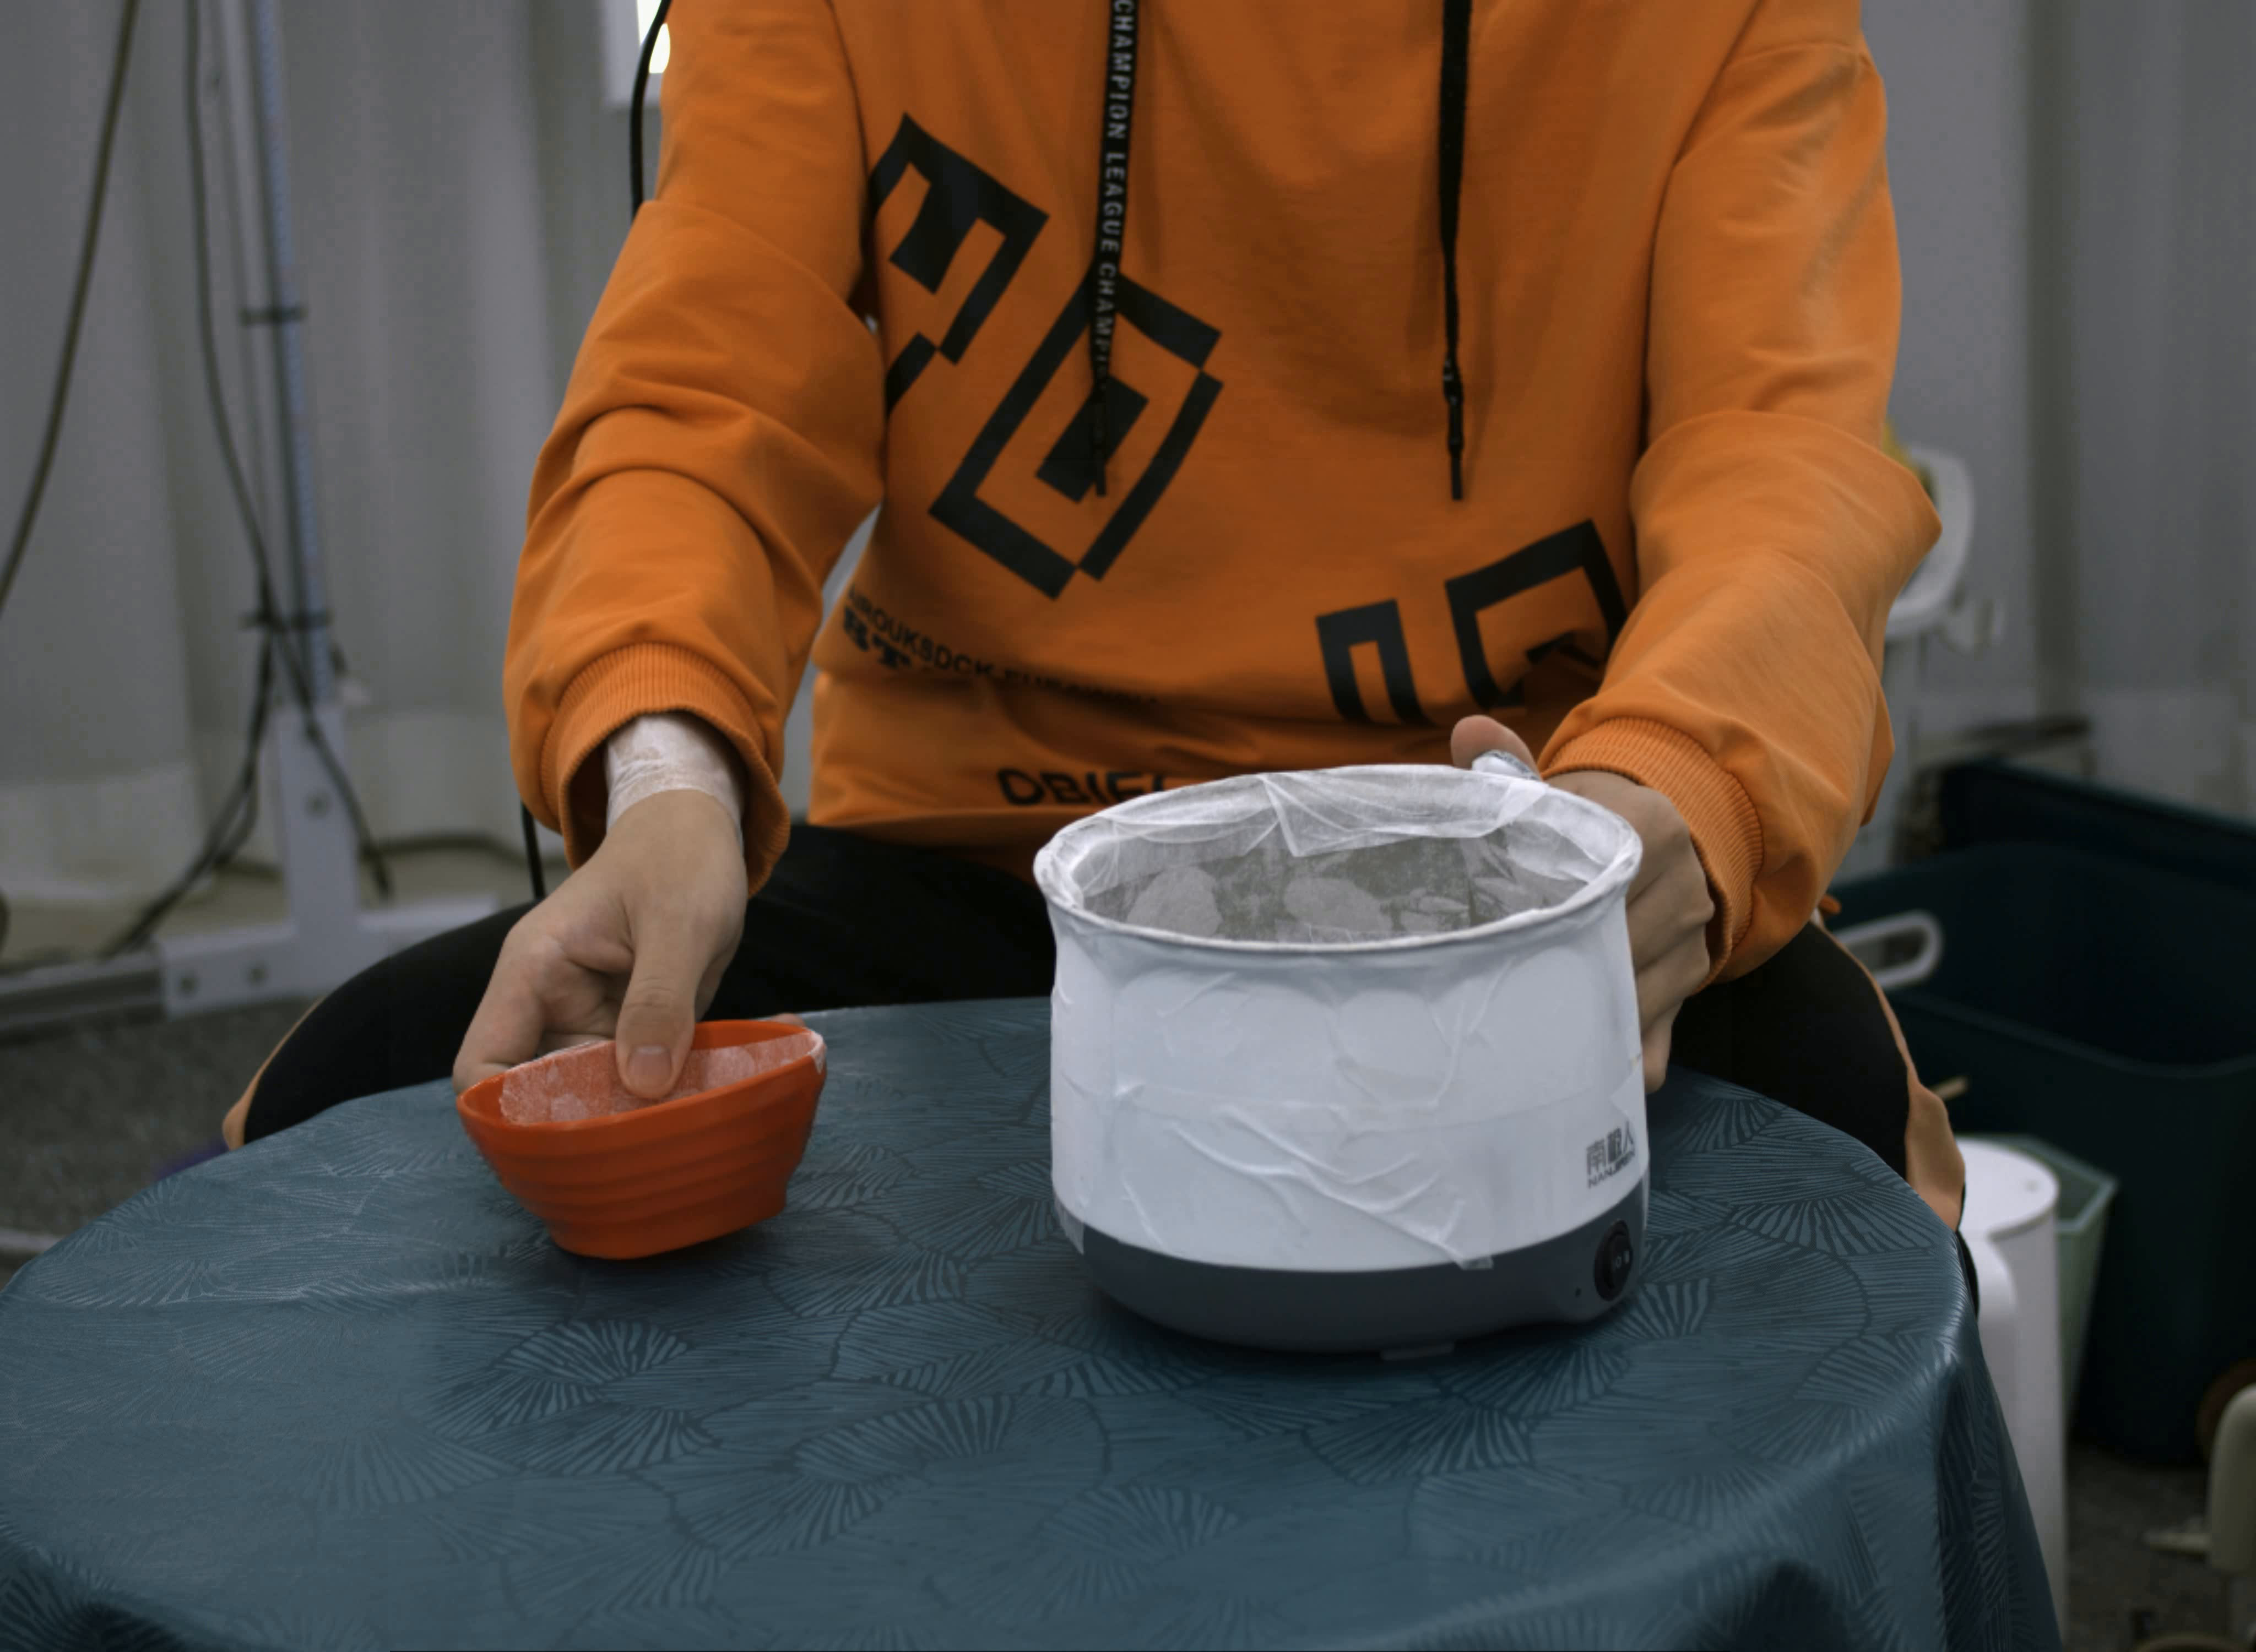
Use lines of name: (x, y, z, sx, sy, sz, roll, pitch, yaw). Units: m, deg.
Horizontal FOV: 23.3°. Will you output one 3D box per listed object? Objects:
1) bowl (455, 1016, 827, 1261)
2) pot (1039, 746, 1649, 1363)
bowl: (-0.146, 0.099, 1.689, 0.118, 0.051, 0.119, -11, 11, 2)
pot: (0.078, 0.060, 1.629, 0.179, 0.136, 0.234, 7, 19, 29)
